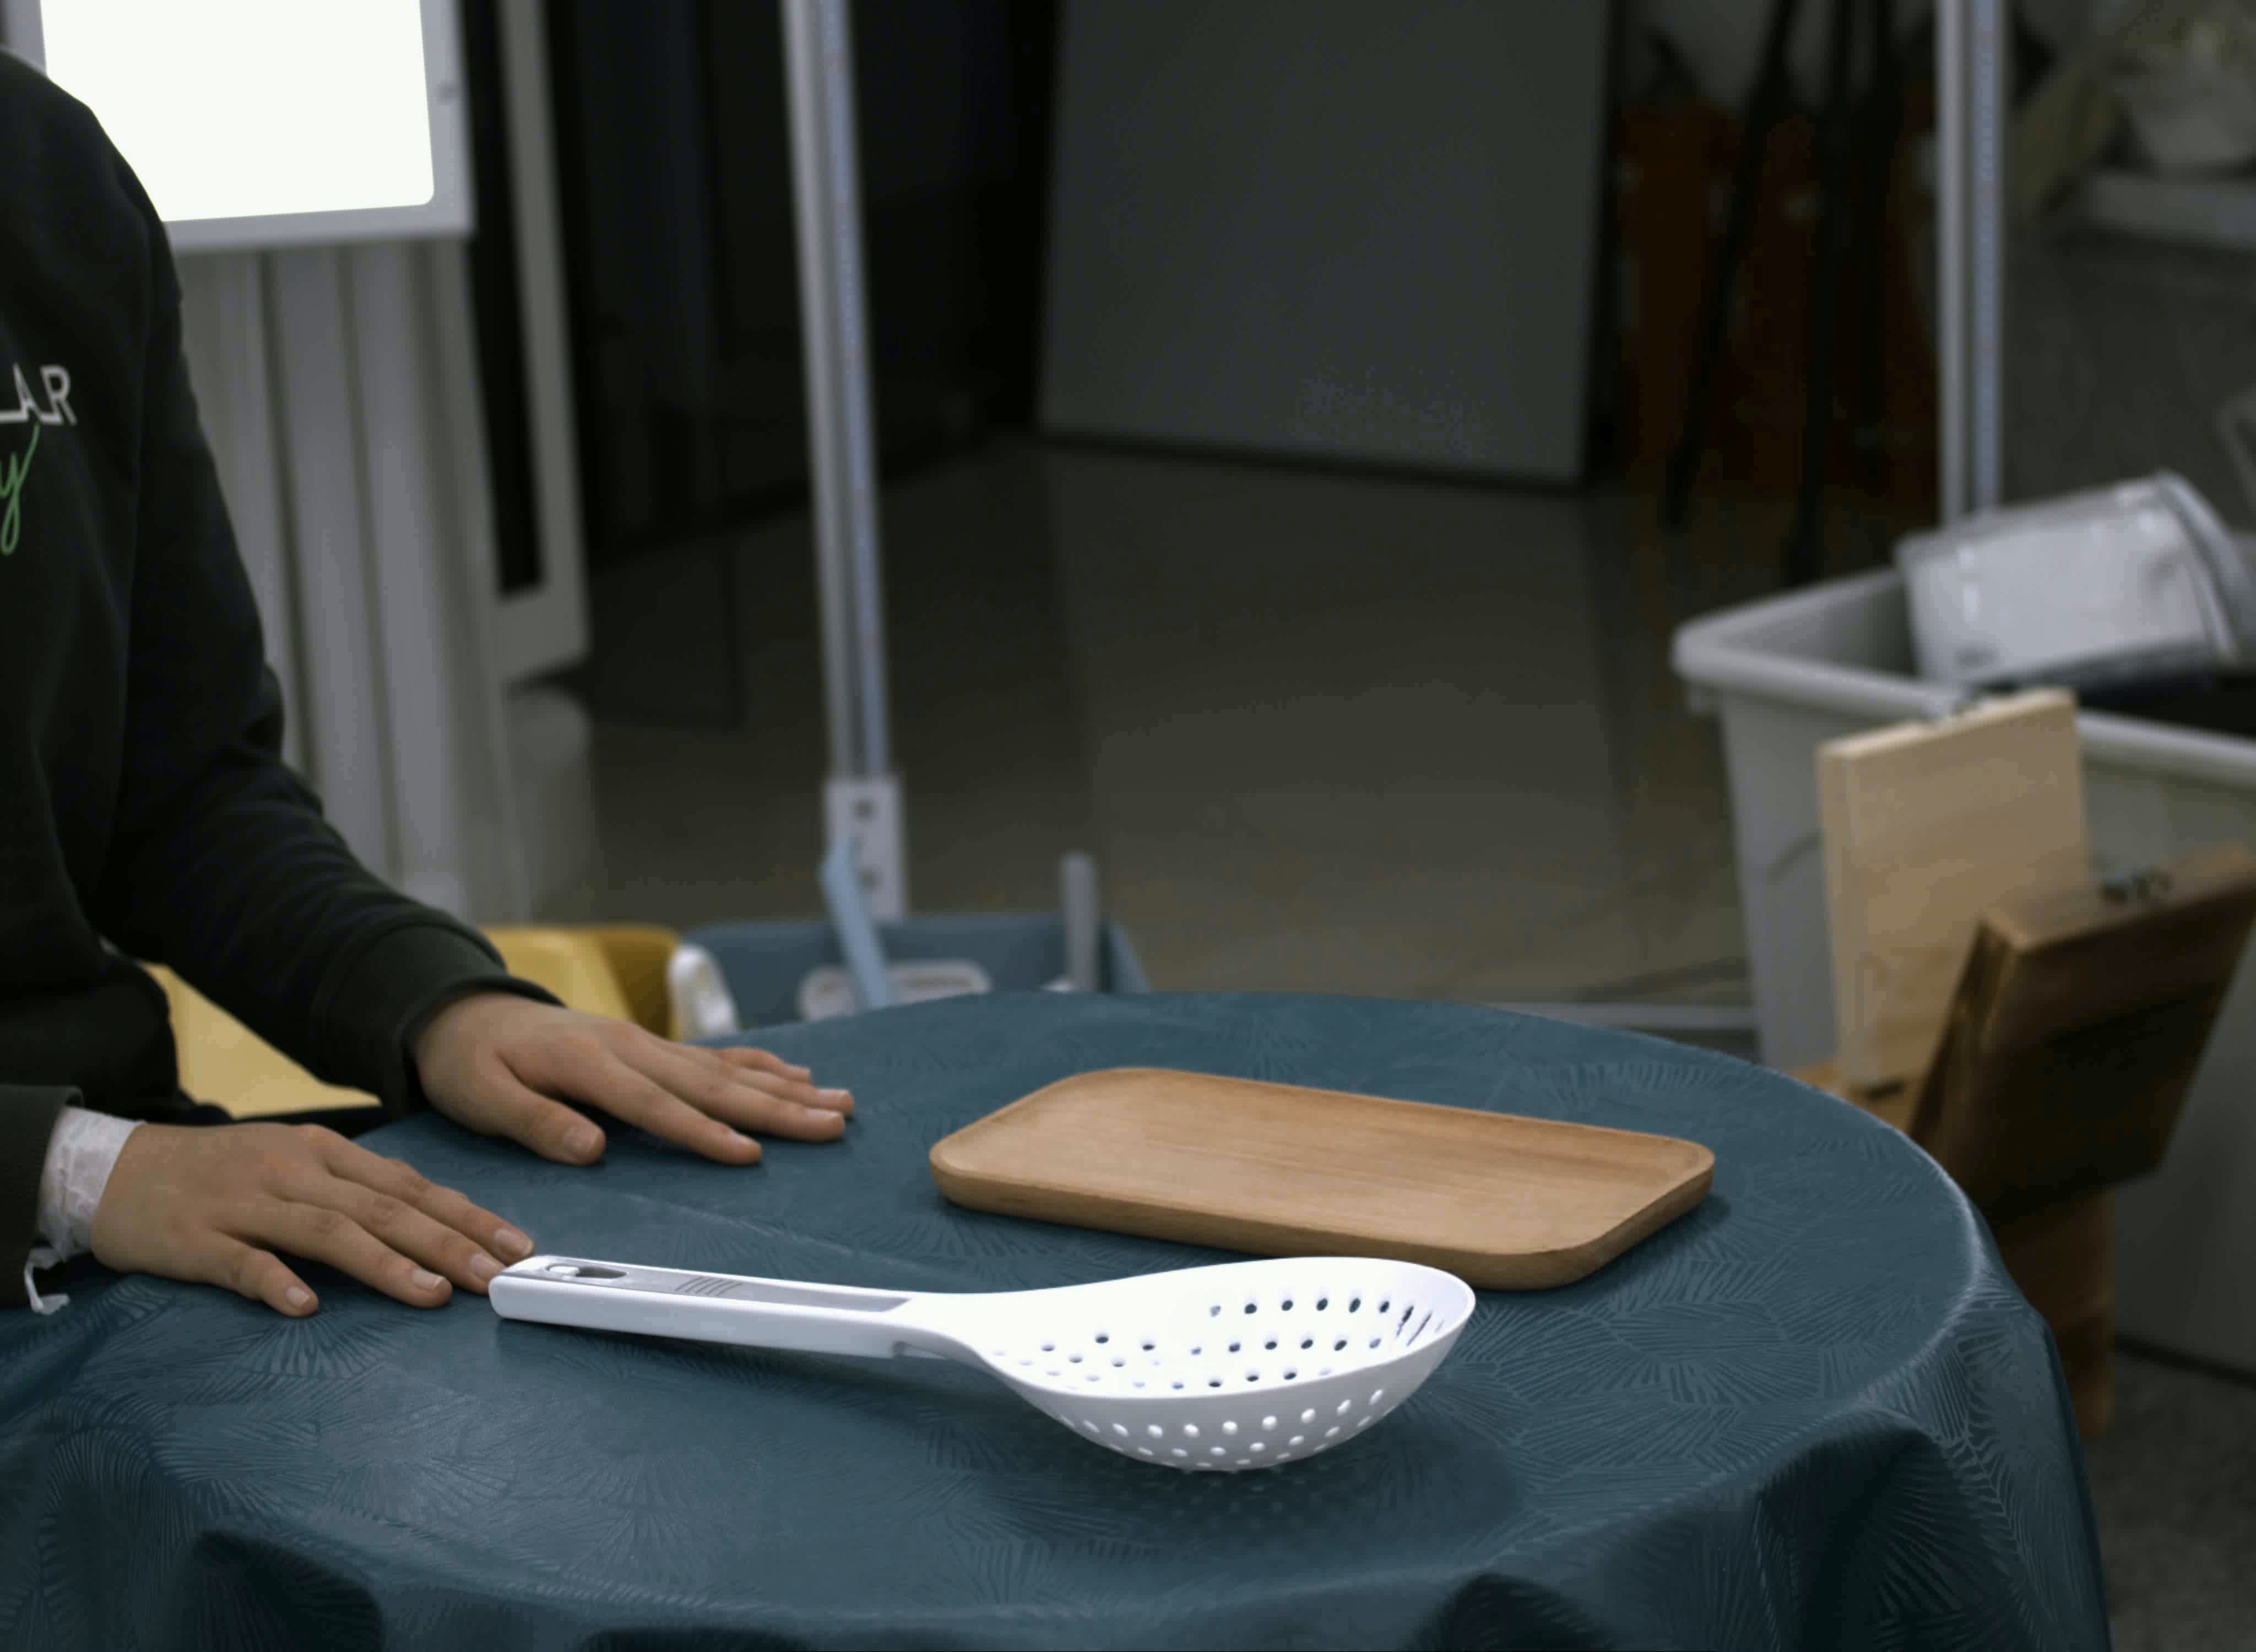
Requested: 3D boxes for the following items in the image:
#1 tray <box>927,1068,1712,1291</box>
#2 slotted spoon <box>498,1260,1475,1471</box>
[{"bbox_3d":[0.061,0.113,1.750,0.252,0.023,0.128,5,14,35],"label":"tray"},{"bbox_3d":[-0.053,0.147,1.586,0.352,0.046,0.133,6,15,37],"label":"slotted spoon"}]
